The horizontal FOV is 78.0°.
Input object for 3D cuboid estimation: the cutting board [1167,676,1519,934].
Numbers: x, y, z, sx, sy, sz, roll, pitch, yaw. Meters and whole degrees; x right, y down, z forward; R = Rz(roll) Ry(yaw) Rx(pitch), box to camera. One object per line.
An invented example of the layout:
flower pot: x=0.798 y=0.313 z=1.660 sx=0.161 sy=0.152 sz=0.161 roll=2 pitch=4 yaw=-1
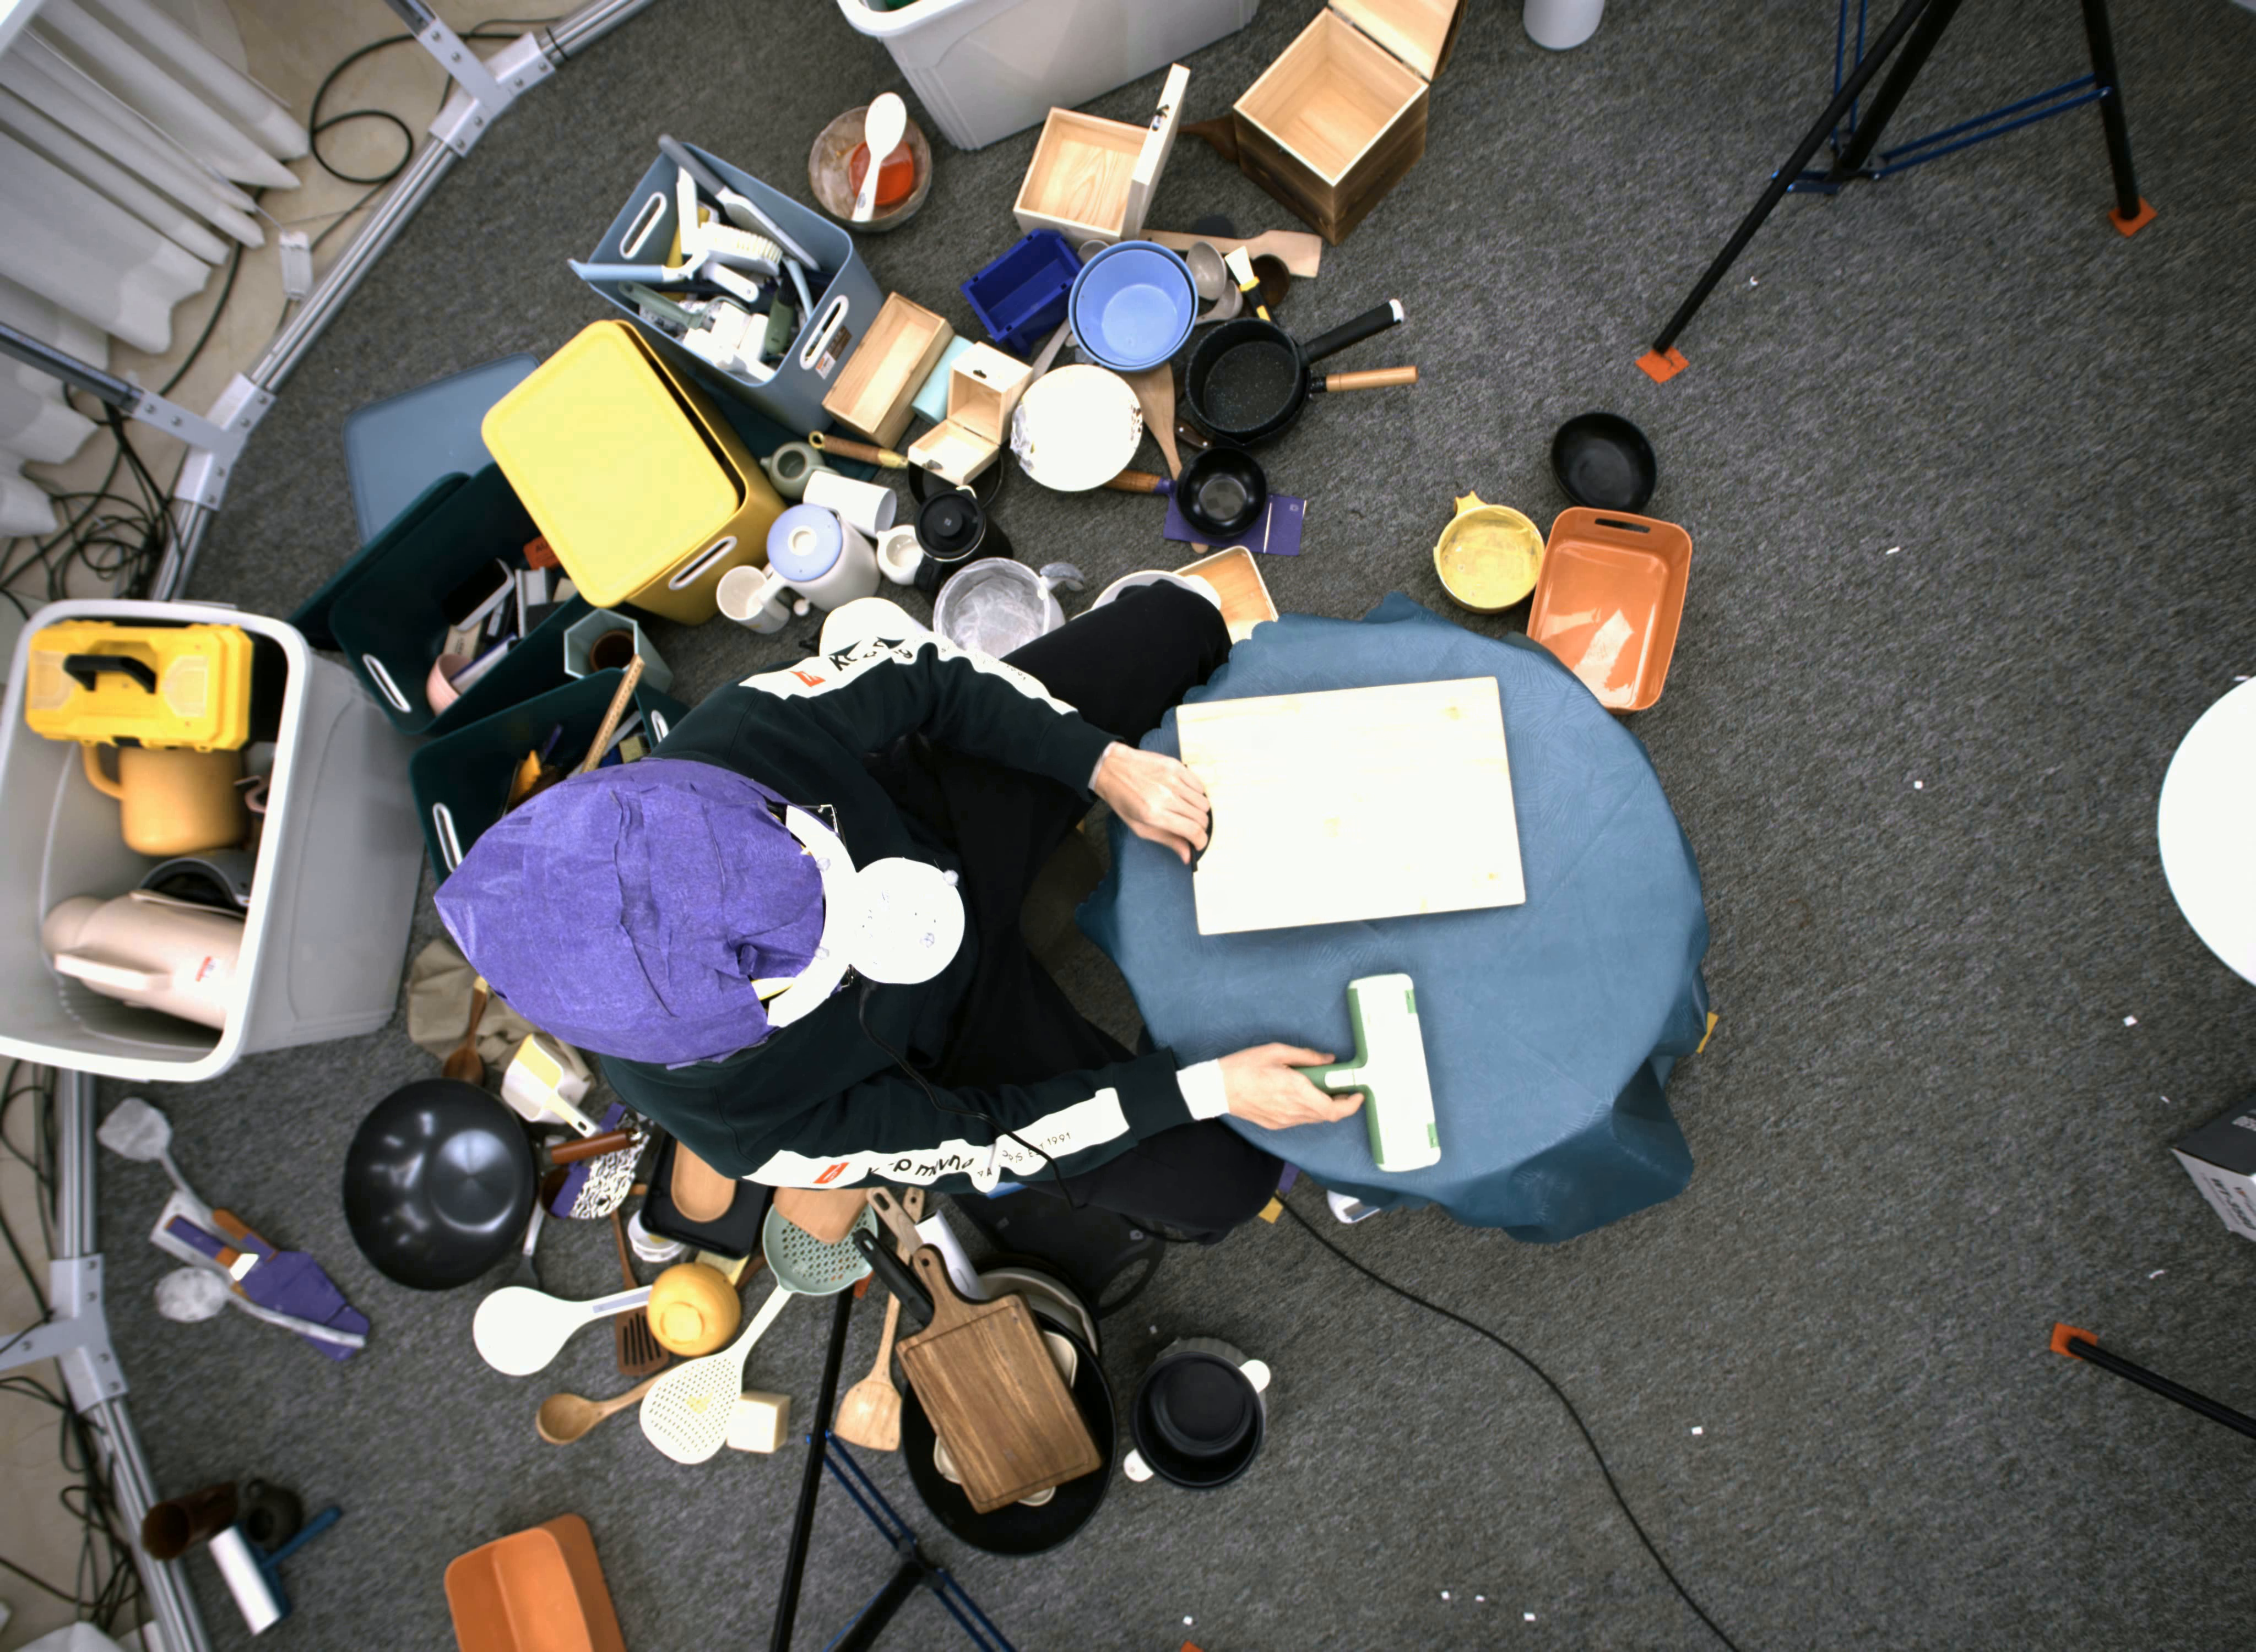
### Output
cutting board: x=0.225 y=-0.024 z=1.427 sx=0.349 sy=0.023 sz=0.249 roll=-6 pitch=86 yaw=-1

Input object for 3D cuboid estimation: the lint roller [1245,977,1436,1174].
lint roller: x=0.211 y=0.258 z=1.410 sx=0.184 sy=0.082 sz=0.197 roll=-7 pitch=86 yaw=2
